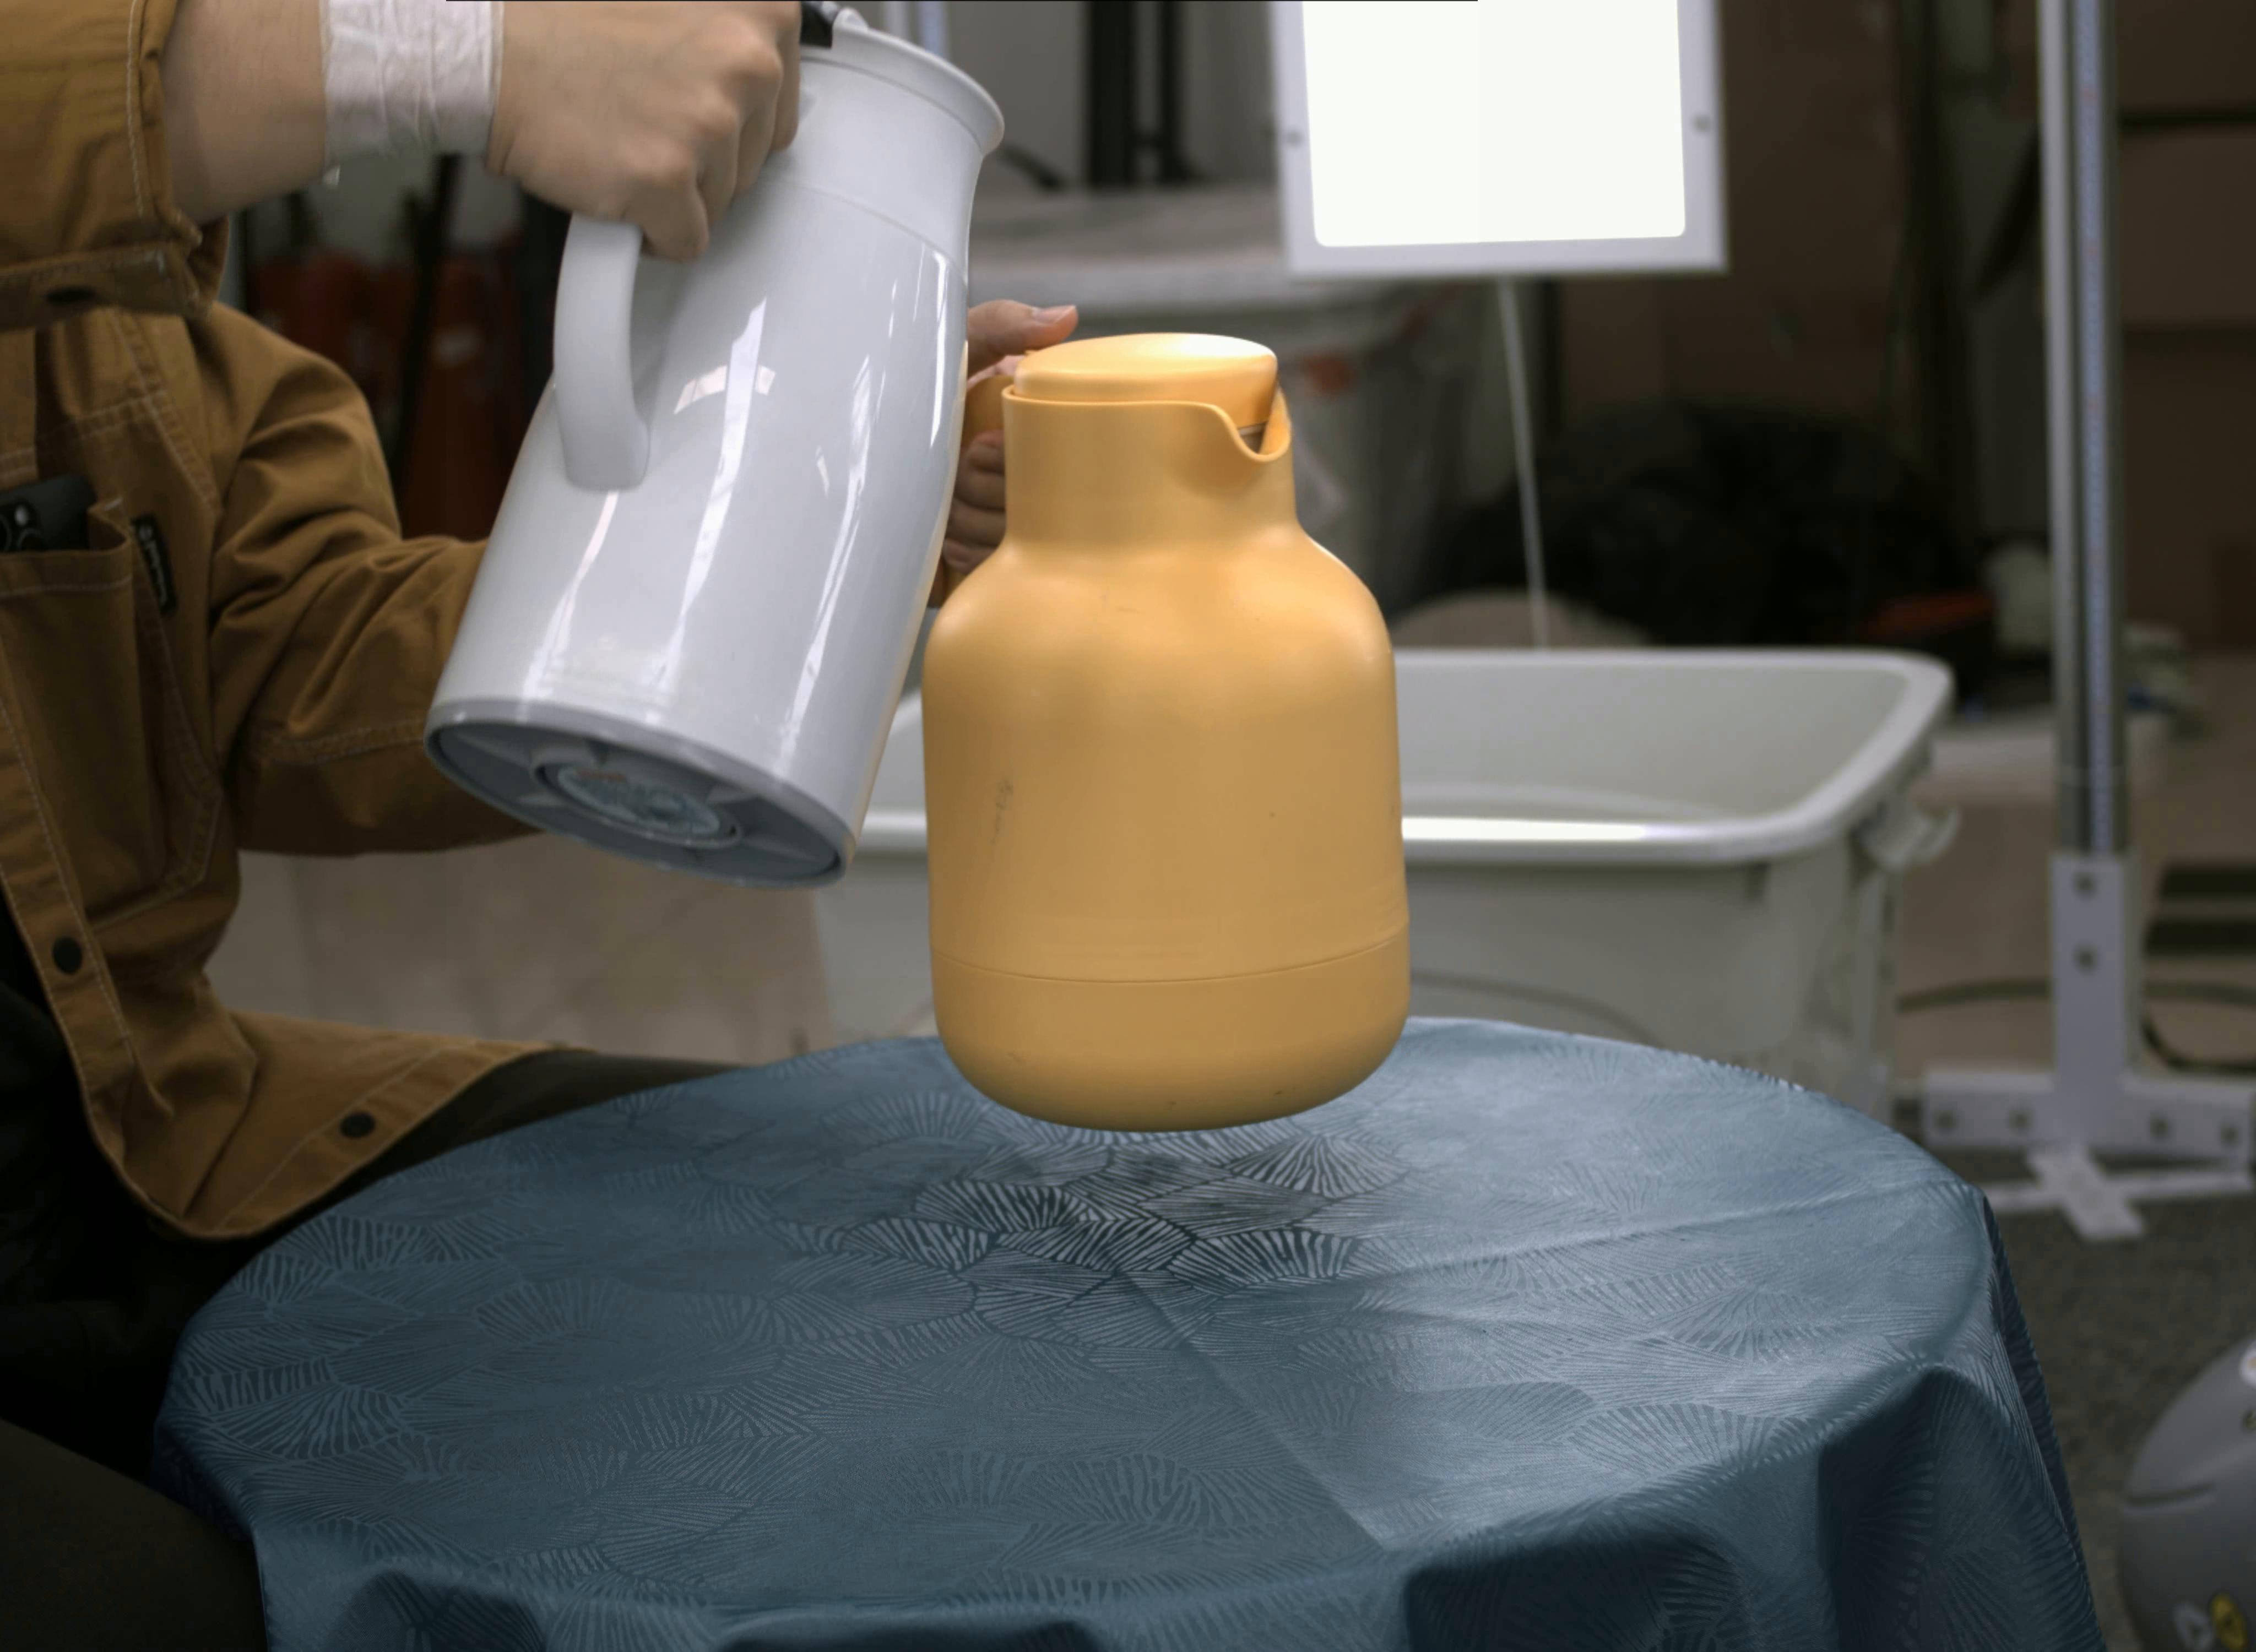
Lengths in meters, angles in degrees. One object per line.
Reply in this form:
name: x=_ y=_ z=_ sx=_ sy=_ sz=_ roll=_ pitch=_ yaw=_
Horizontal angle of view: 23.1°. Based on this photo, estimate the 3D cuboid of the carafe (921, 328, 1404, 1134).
carafe: x=0.002 y=-0.039 z=1.867 sx=0.160 sy=0.261 sz=0.206 roll=-7 pitch=14 yaw=-28

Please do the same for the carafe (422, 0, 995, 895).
carafe: x=-0.121 y=-0.124 z=1.644 sx=0.135 sy=0.248 sz=0.165 roll=7 pitch=-17 yaw=30
